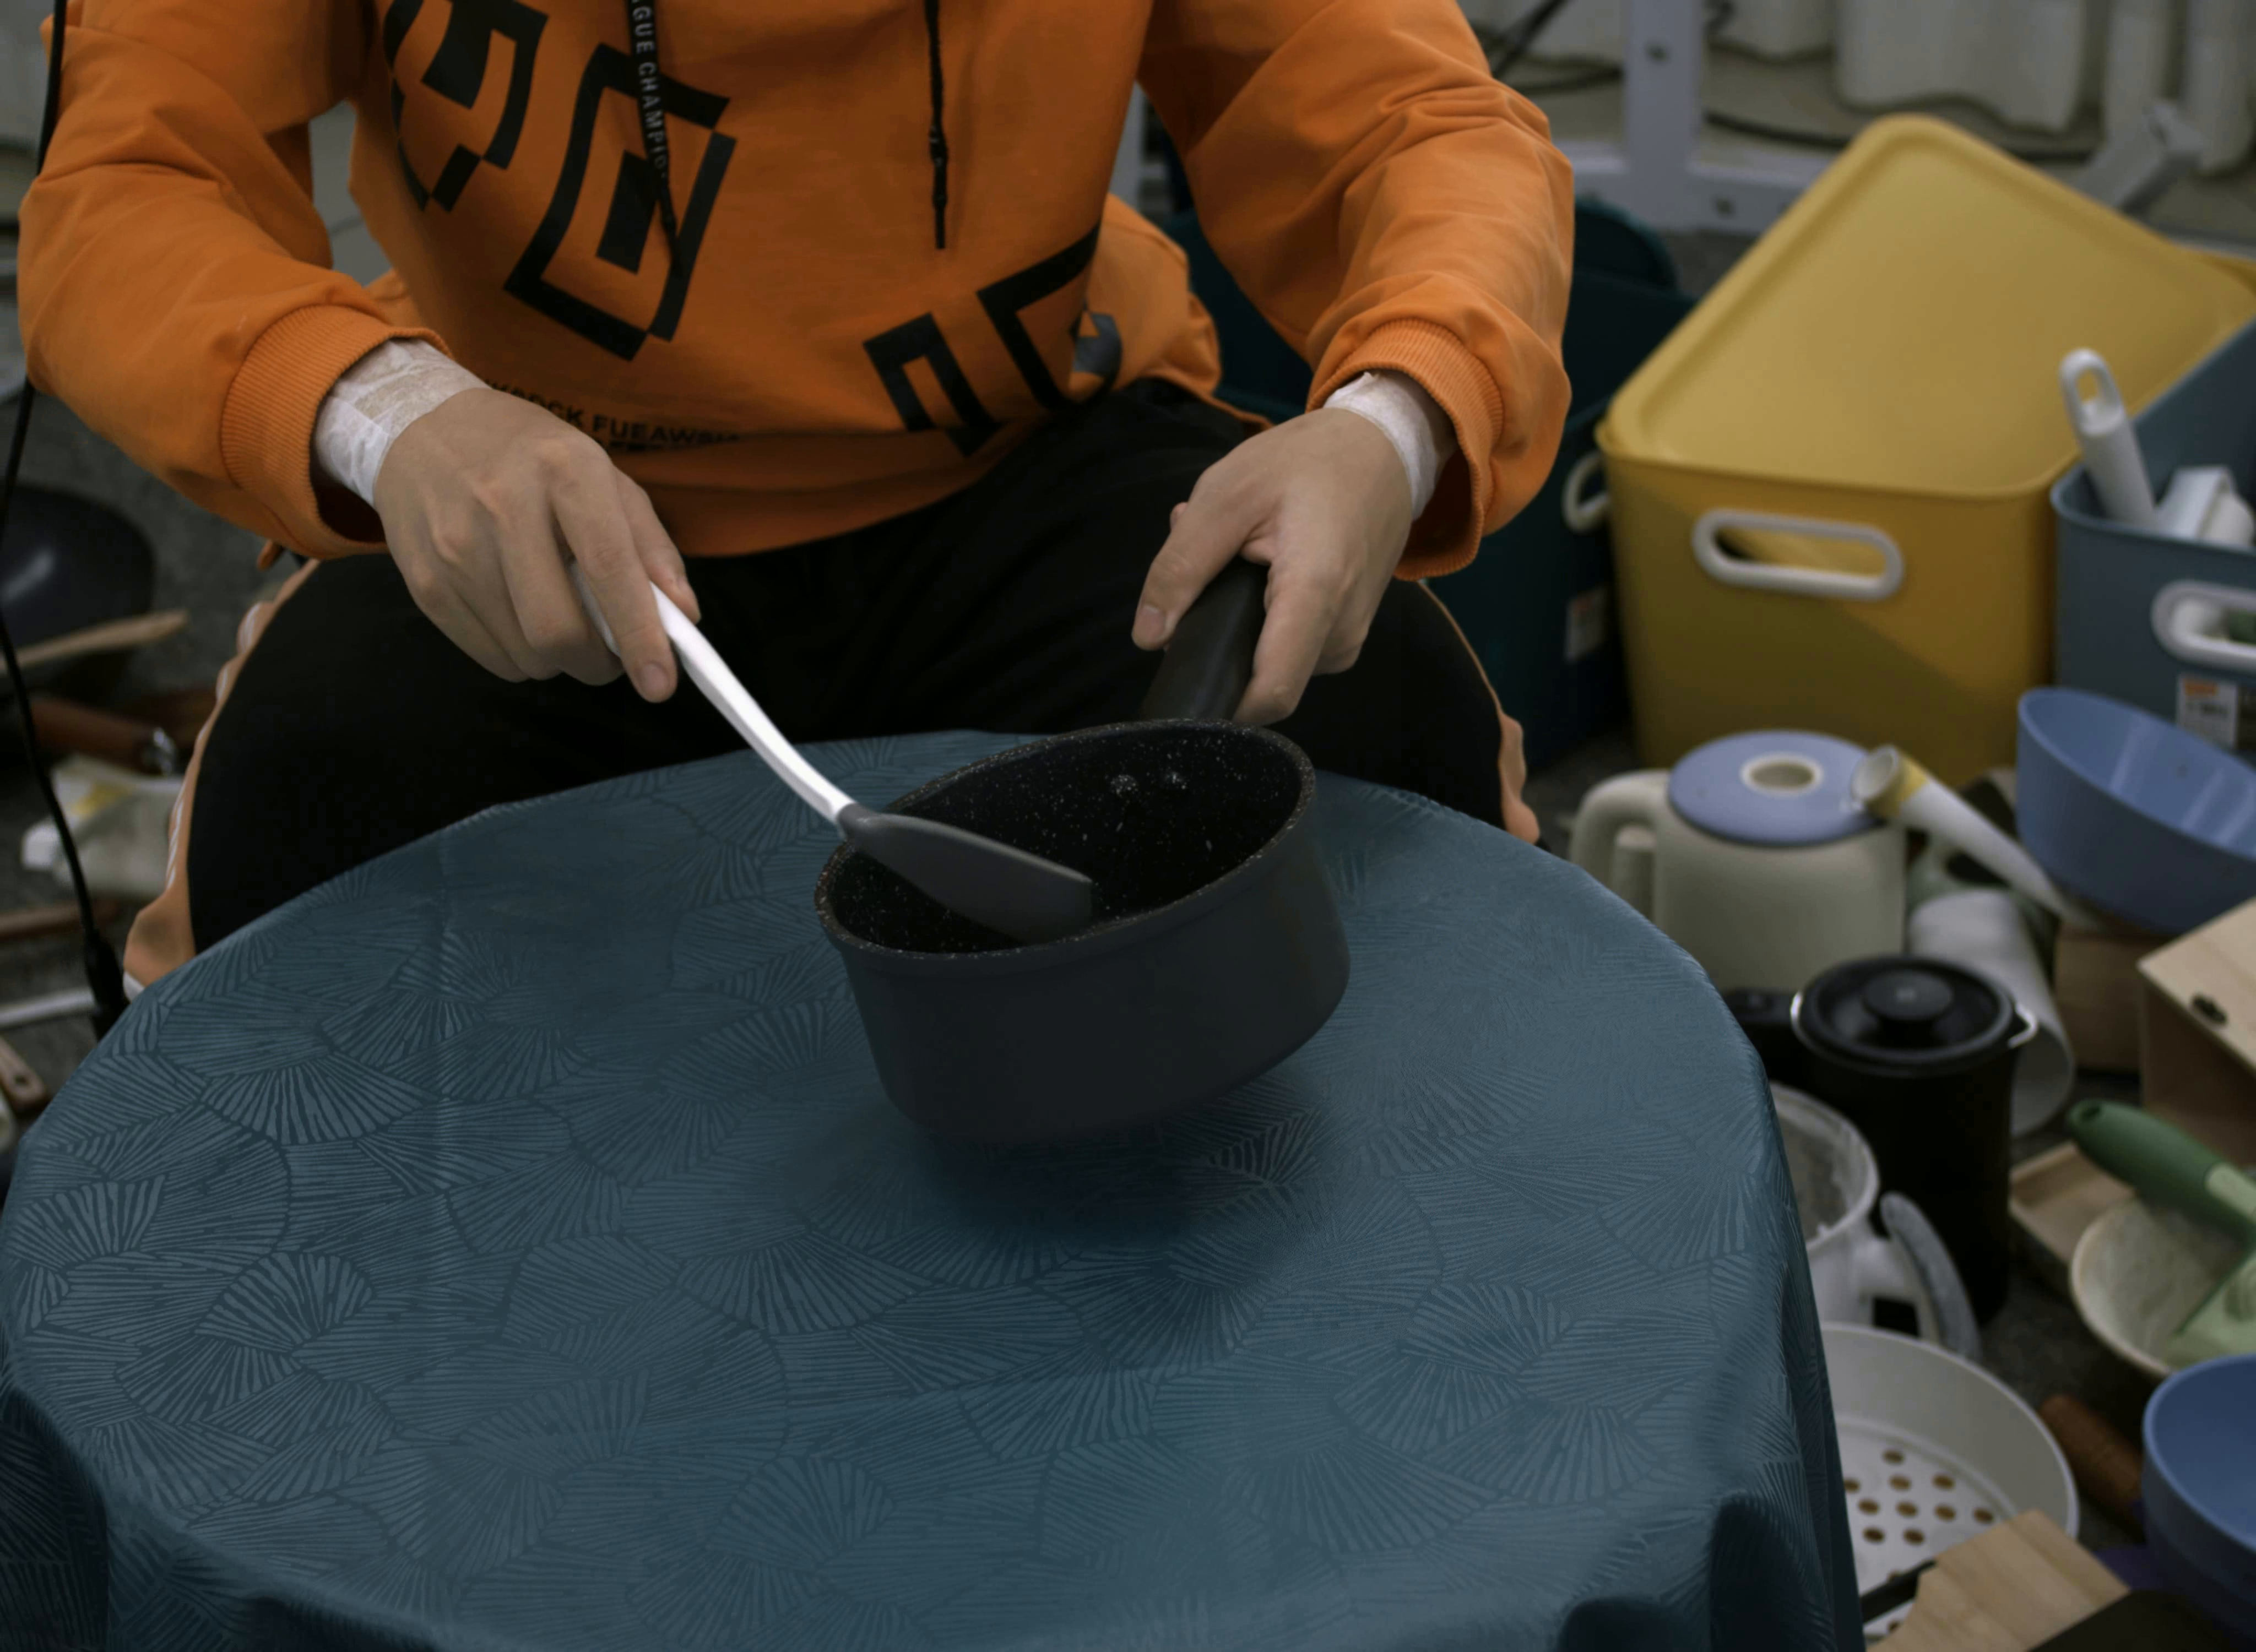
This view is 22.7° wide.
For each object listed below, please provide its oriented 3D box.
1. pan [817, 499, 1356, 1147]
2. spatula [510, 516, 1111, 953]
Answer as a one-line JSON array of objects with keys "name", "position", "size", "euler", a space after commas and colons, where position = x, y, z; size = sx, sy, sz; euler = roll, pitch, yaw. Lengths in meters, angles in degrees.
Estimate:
[{"name": "pan", "position": [0.014, -0.004, 1.933], "size": [0.170, 0.086, 0.334], "euler": [-4, 27, 23]}, {"name": "spatula", "position": [-0.108, -0.026, 1.873], "size": [0.032, 0.058, 0.288], "euler": [-40, 51, -19]}]
